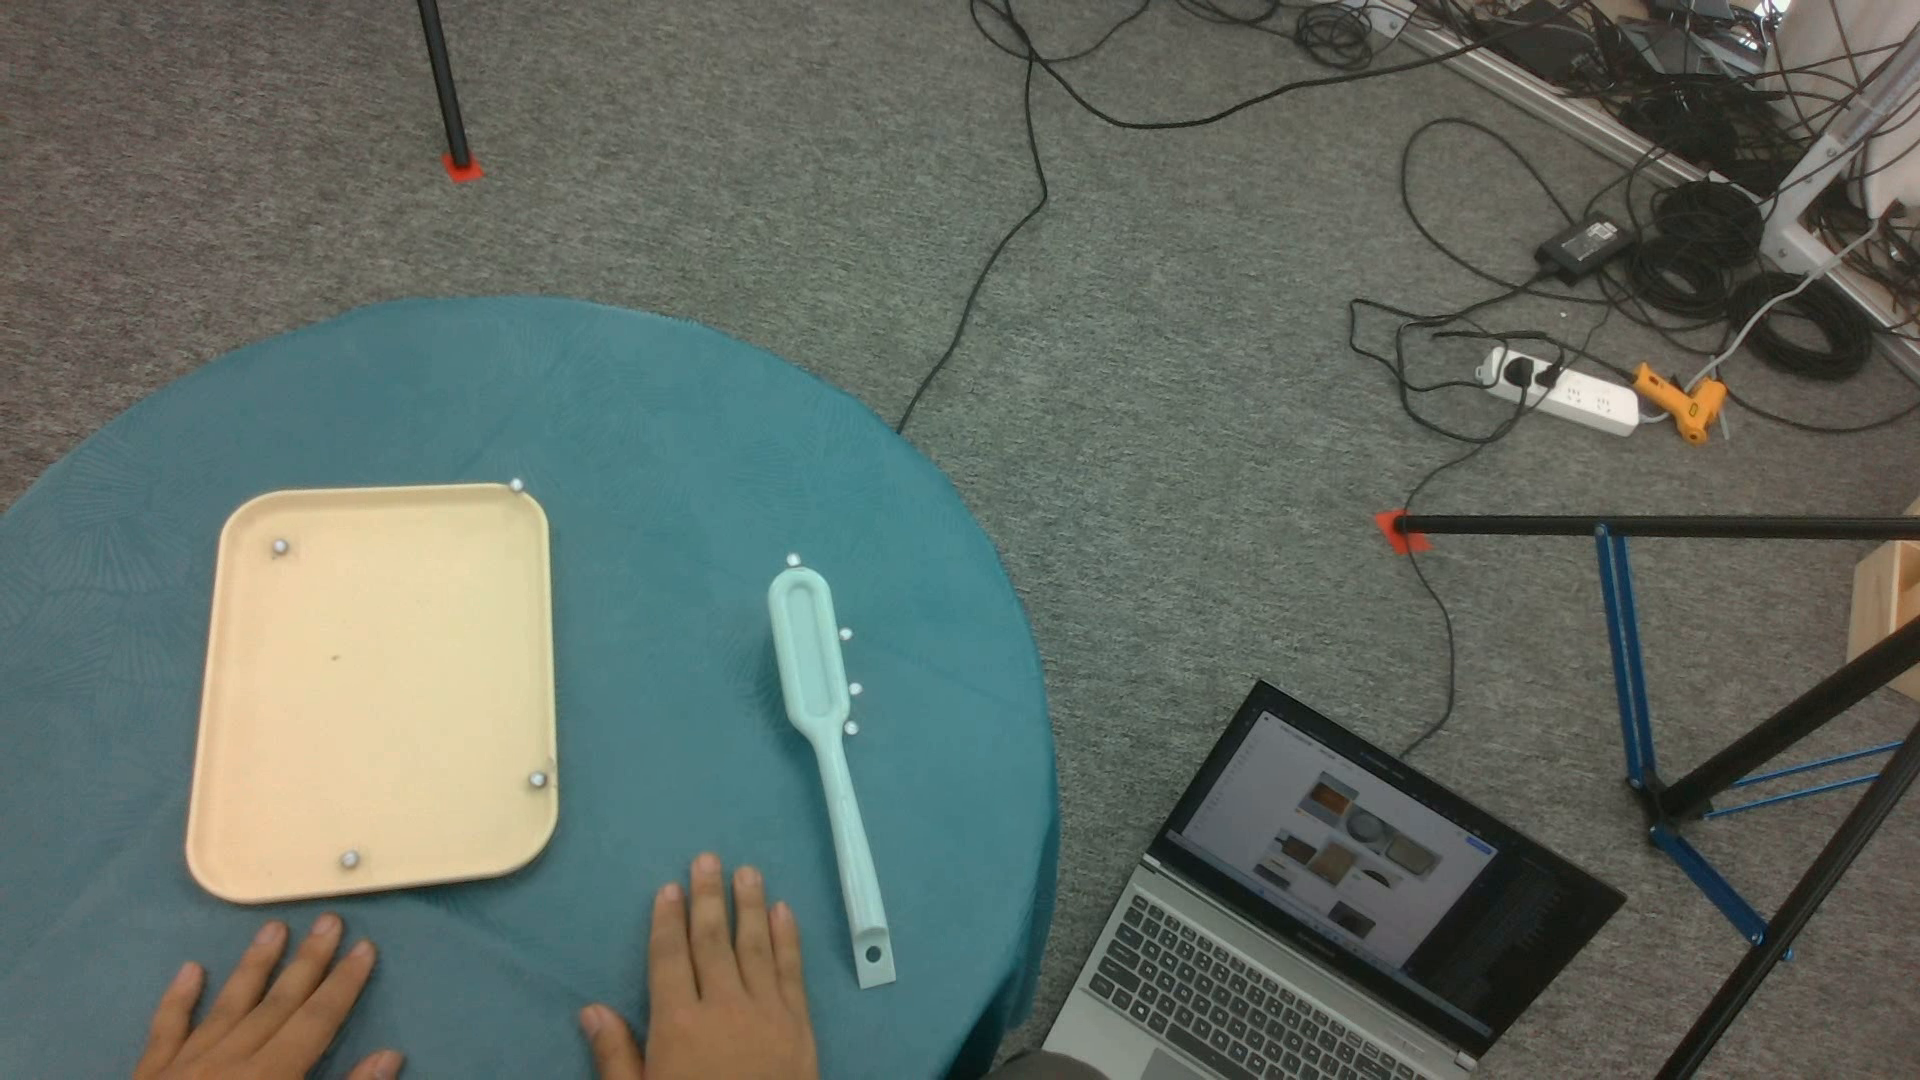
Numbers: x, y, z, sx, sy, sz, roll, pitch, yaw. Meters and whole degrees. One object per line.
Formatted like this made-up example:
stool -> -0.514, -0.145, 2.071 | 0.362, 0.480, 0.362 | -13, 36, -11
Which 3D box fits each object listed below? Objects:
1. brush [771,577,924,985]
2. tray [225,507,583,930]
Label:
brush -> -0.061, 0.130, 0.761 | 0.038, 0.049, 0.229 | -15, 68, -13
tray -> -0.300, 0.088, 0.748 | 0.171, 0.017, 0.240 | -6, 57, -15
